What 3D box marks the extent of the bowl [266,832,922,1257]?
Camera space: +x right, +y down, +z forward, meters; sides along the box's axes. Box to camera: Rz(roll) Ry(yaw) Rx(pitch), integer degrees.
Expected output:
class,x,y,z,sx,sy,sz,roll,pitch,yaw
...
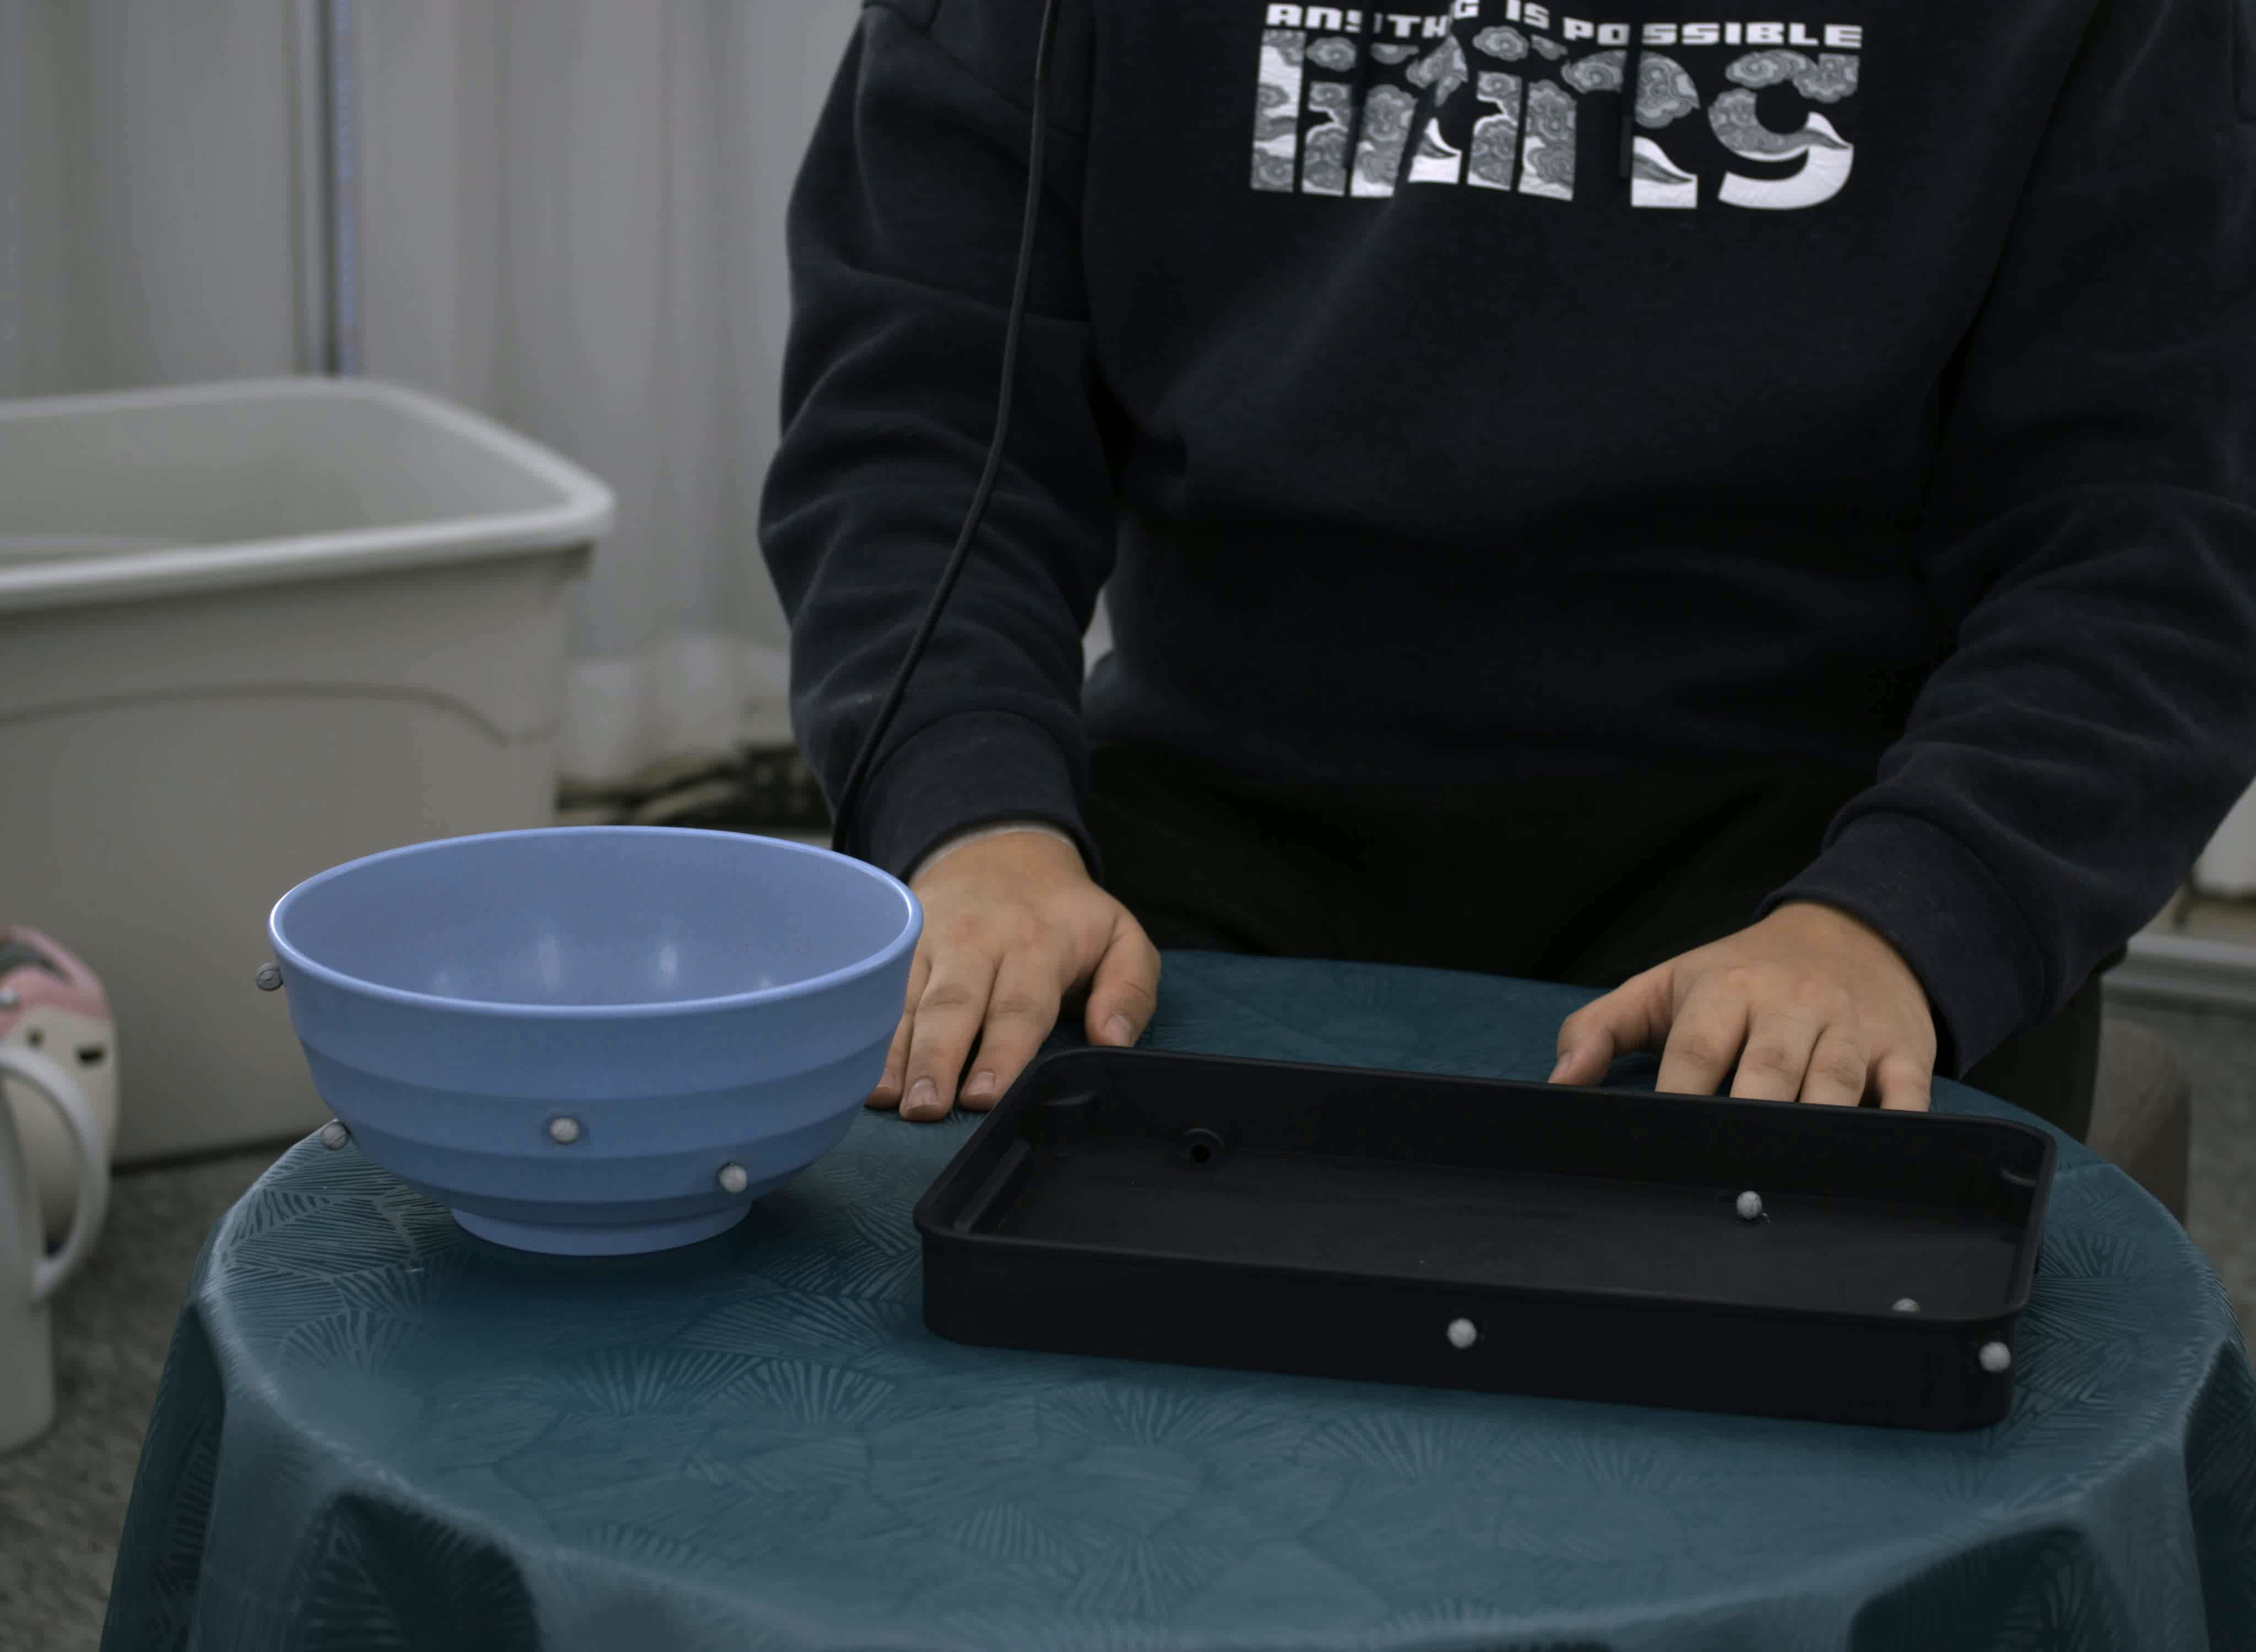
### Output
class,x,y,z,sx,sy,sz,roll,pitch,yaw
bowl,-0.159,0.071,1.592,0.196,0.096,0.195,0,15,1

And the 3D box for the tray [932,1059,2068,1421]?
class,x,y,z,sx,sy,sz,roll,pitch,yaw
tray,0.113,0.118,1.547,0.316,0.037,0.184,3,15,10
